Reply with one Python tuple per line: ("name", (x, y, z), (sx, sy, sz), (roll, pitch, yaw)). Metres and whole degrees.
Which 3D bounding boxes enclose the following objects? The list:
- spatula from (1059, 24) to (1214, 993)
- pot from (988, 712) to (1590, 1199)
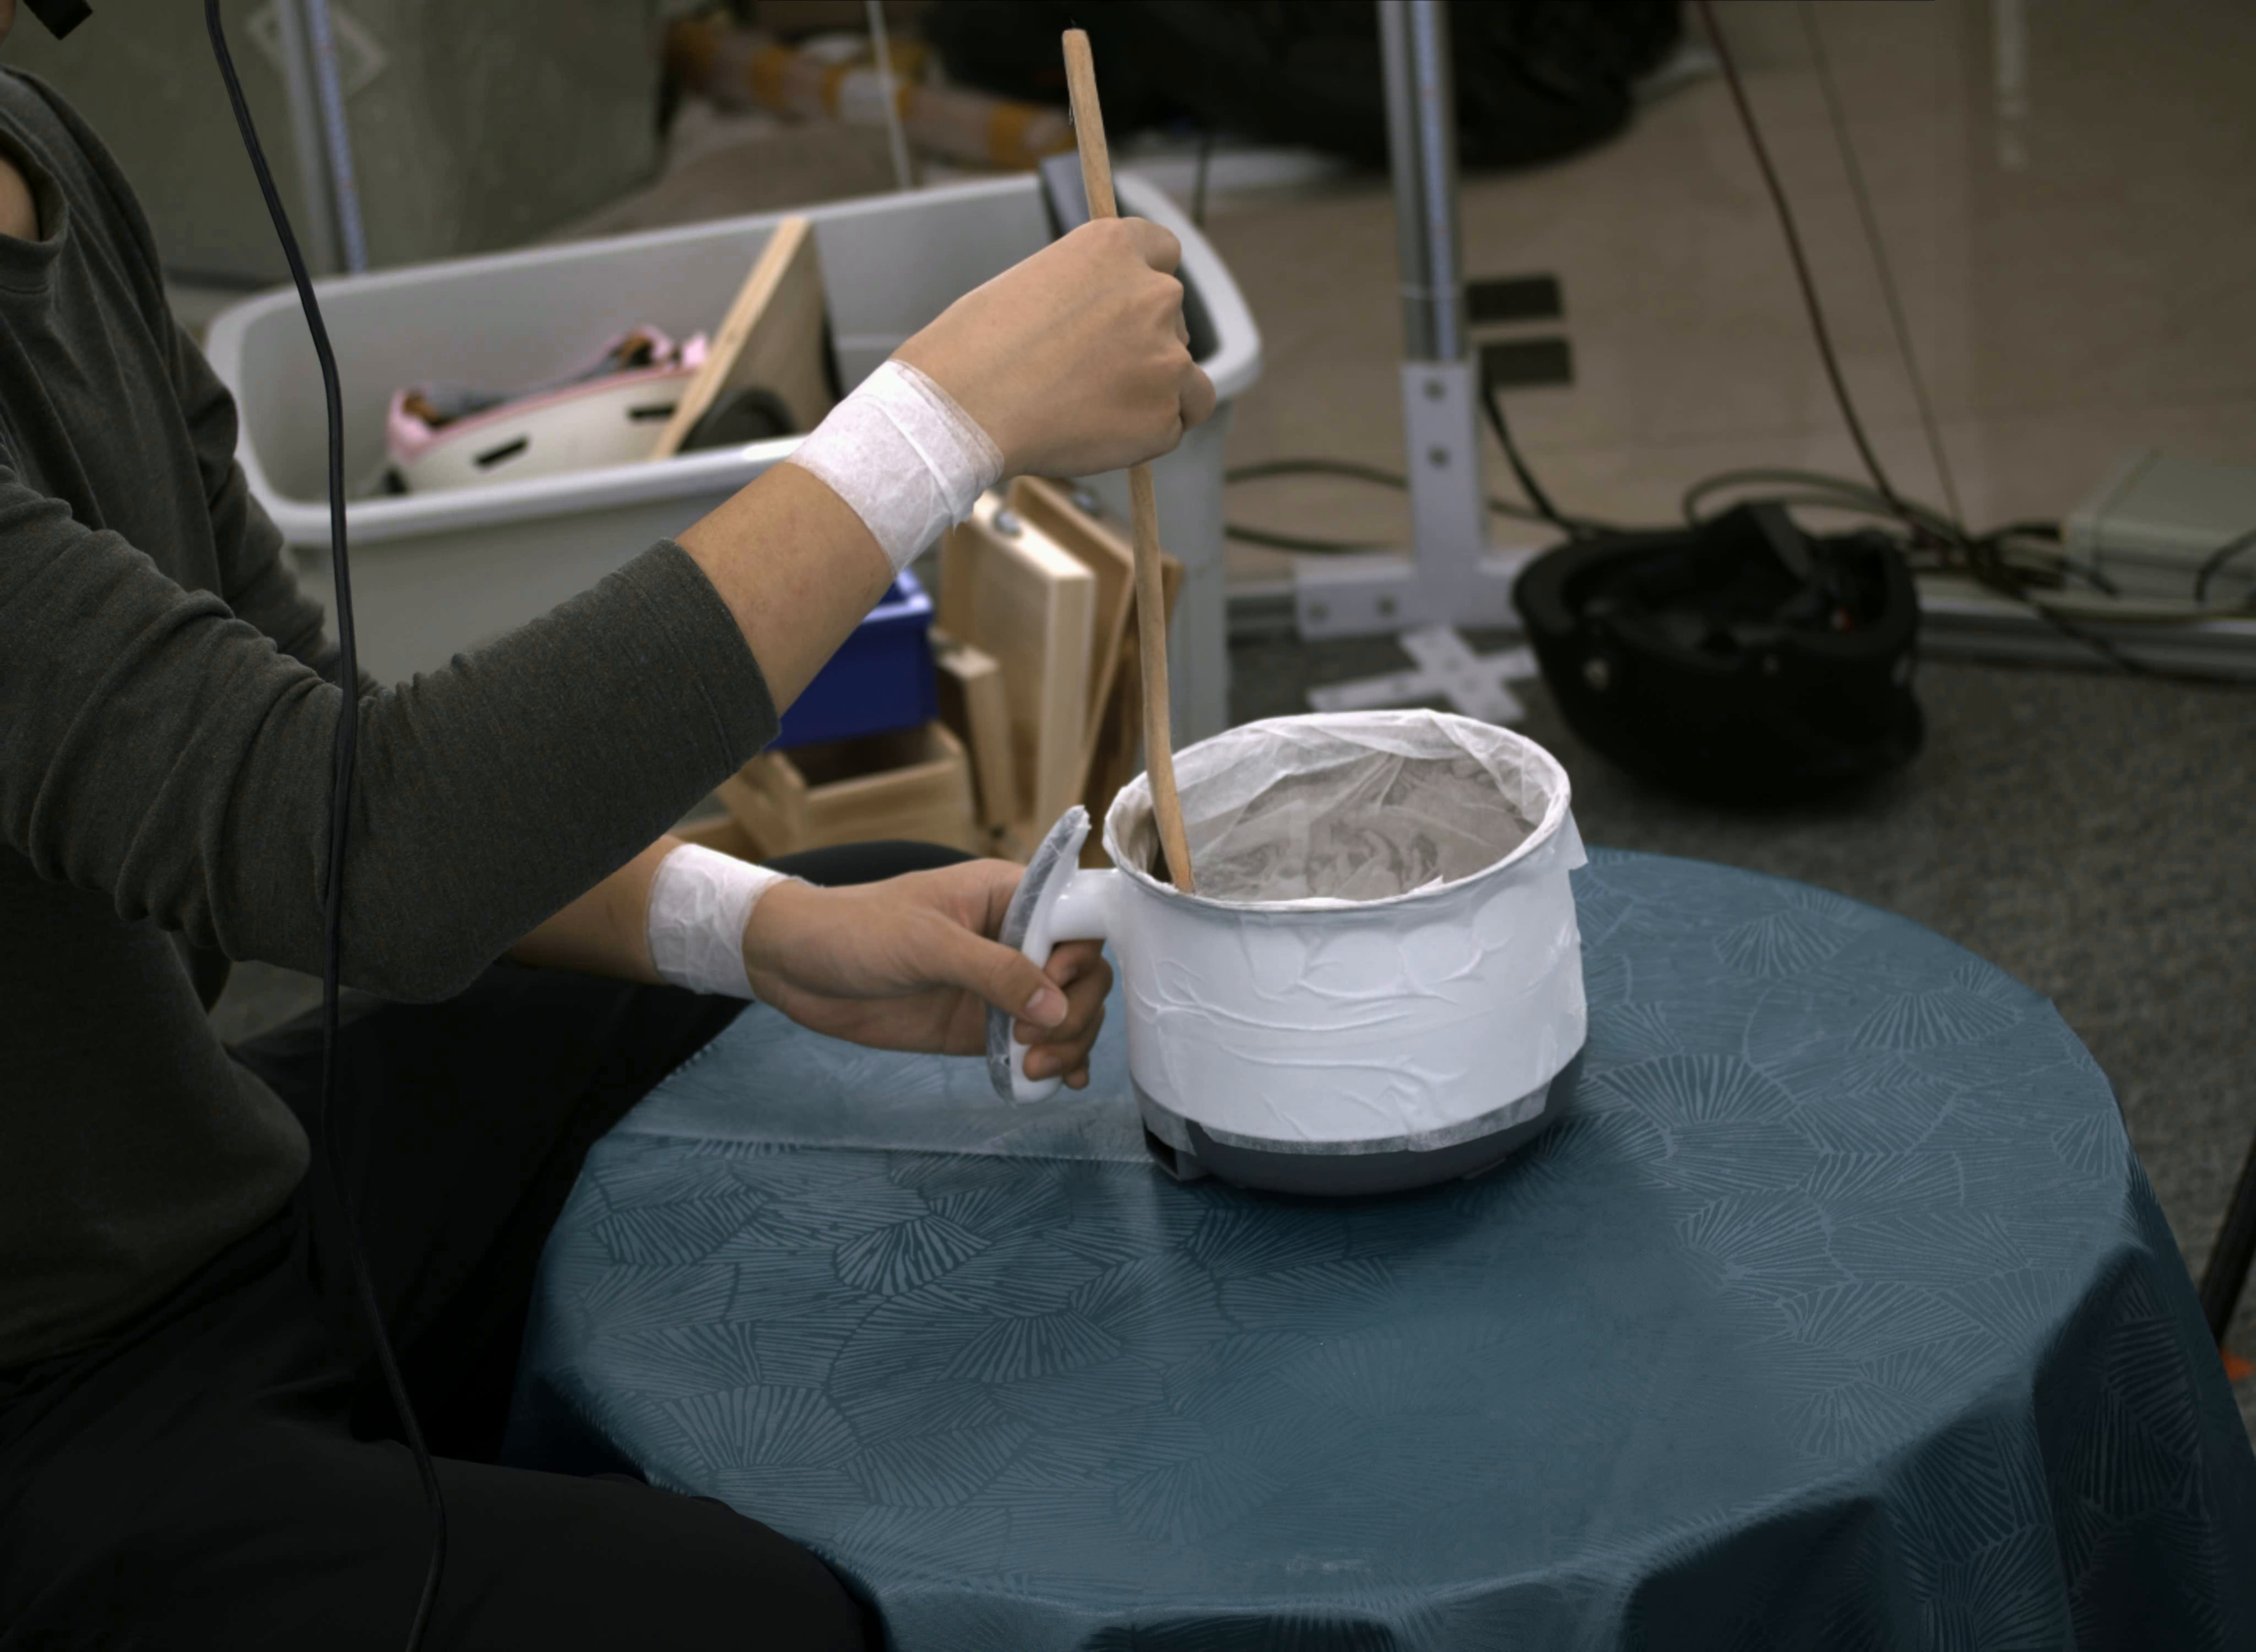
("spatula", (0.005, -0.106, 2.057), (0.018, 0.398, 0.094), (-9, 30, -4))
("pot", (0.058, 0.053, 2.162), (0.233, 0.139, 0.176), (-4, 25, 8))
